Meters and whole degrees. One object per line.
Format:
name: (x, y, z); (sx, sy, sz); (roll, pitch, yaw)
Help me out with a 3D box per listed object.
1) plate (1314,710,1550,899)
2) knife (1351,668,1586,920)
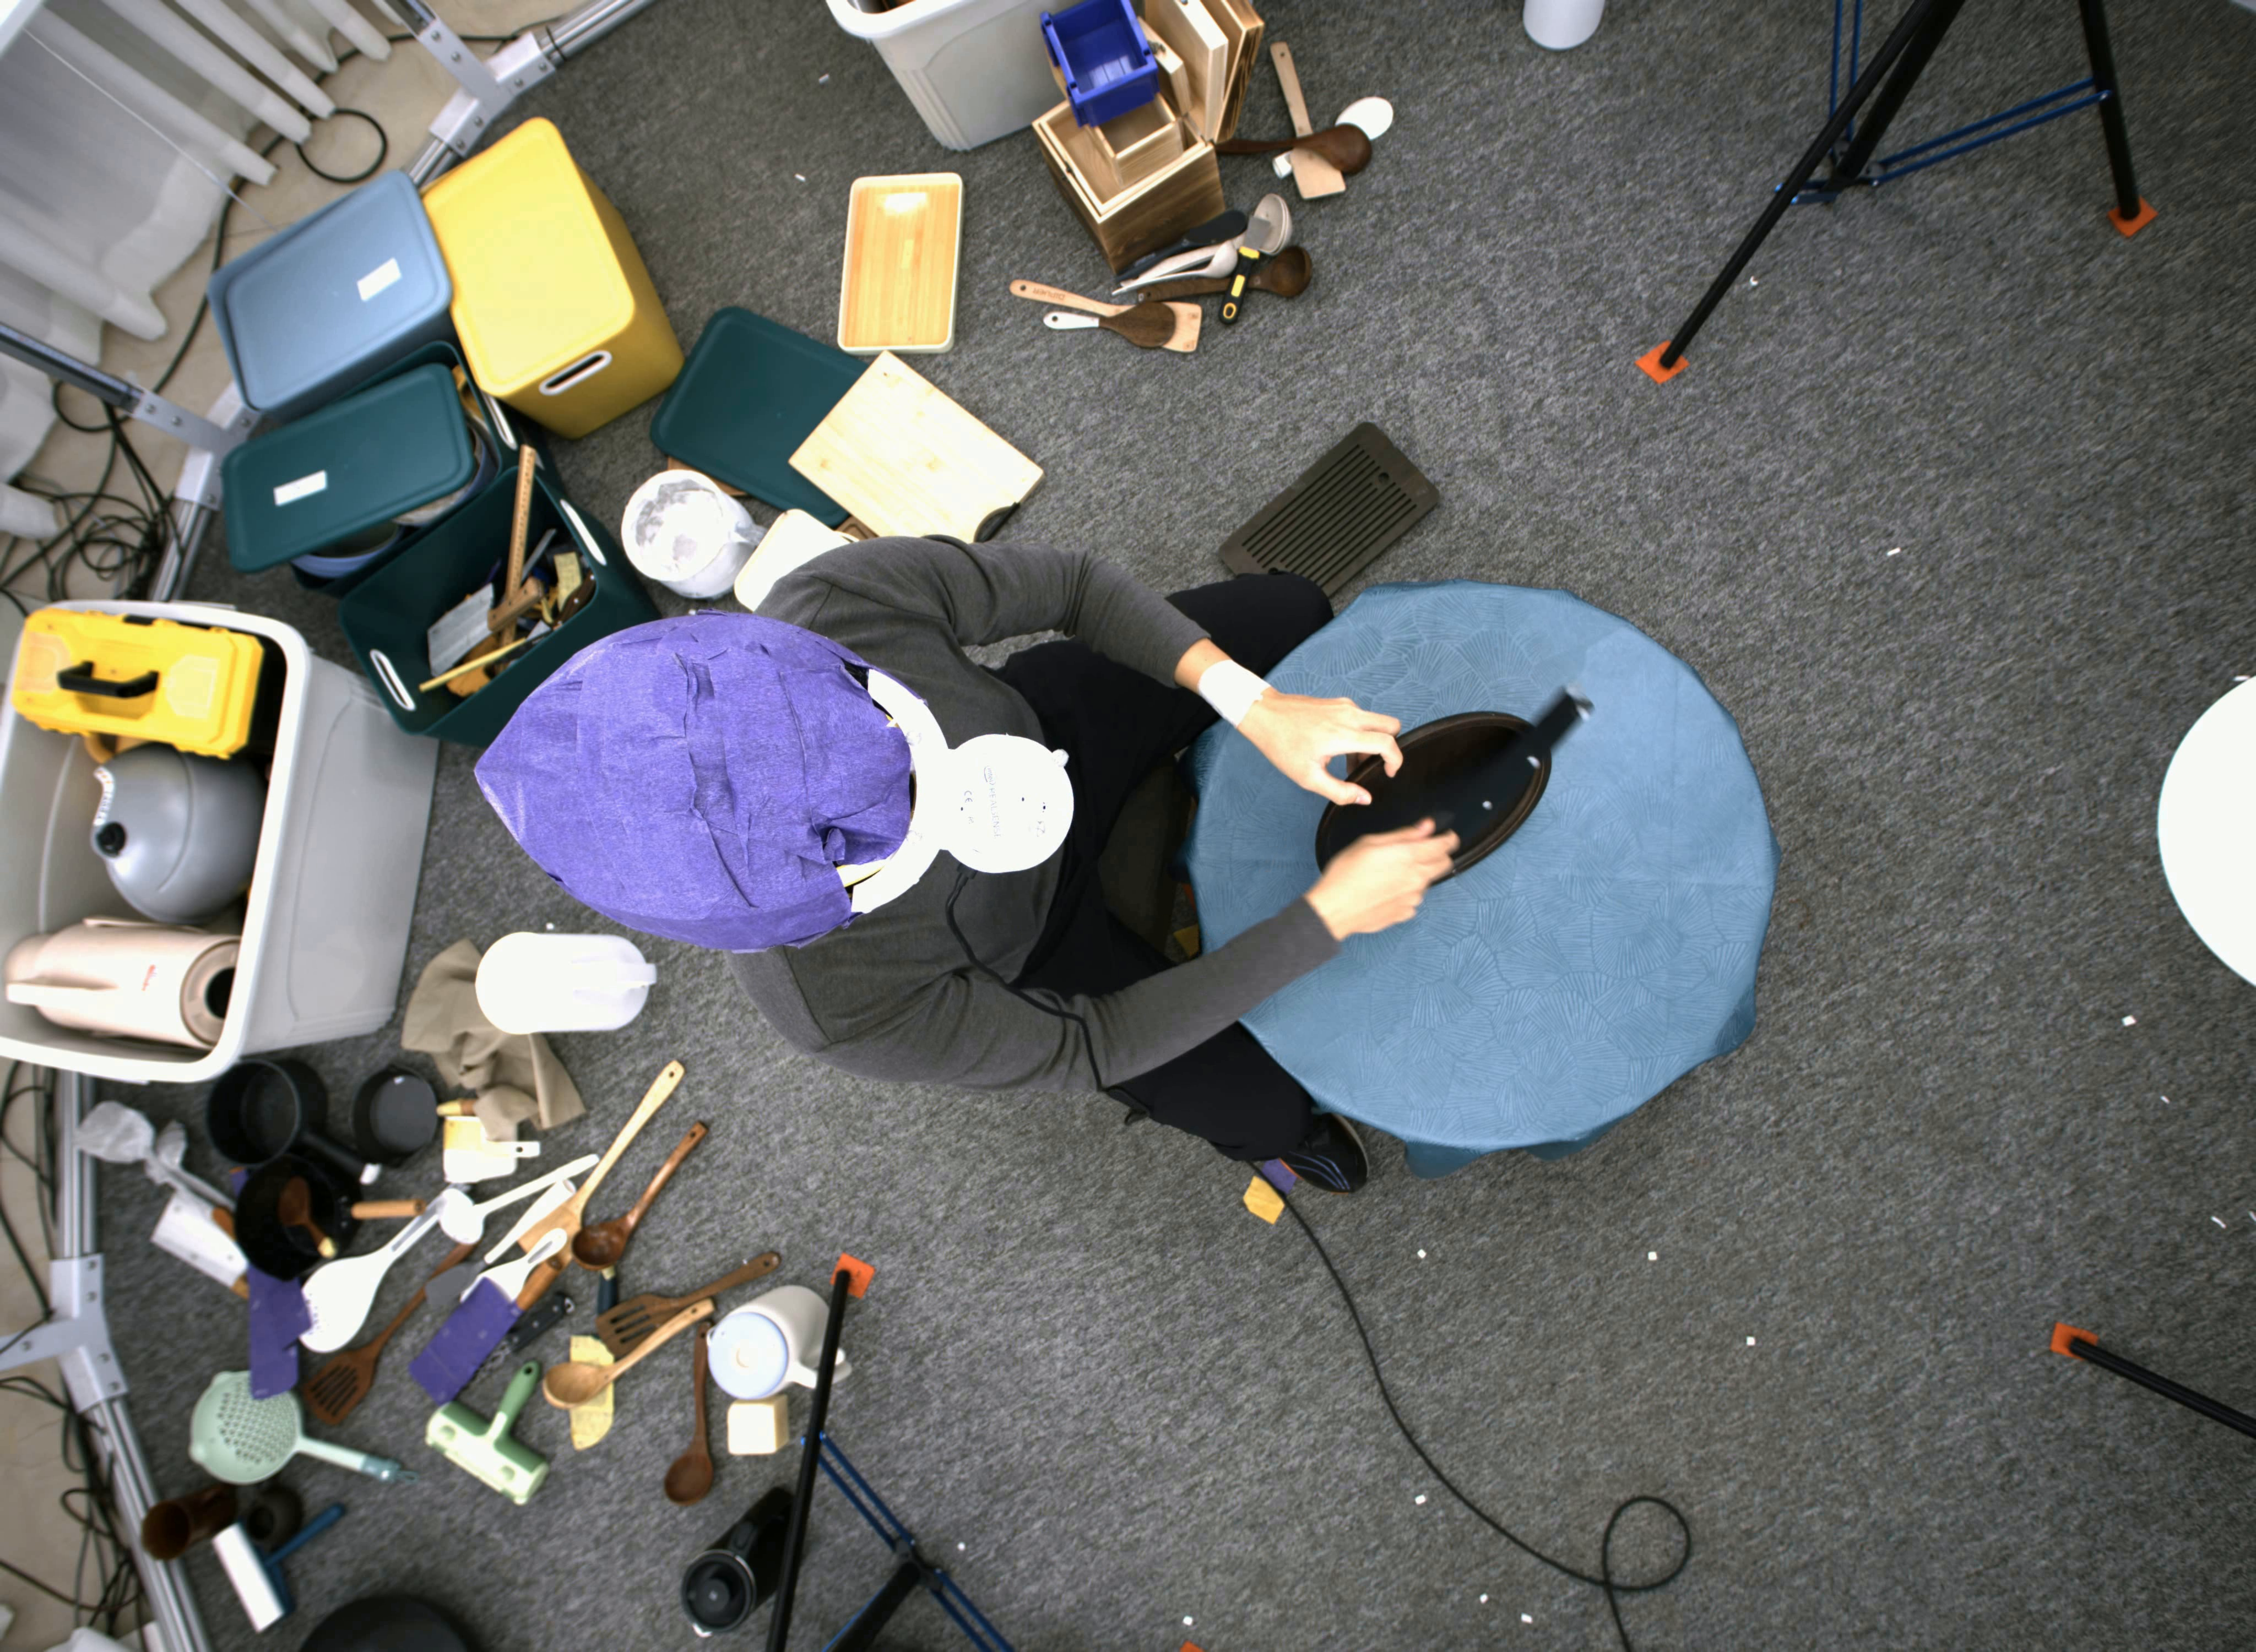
plate: (0.297, -0.020, 1.350); (0.256, 0.258, 0.028); (-29, 54, 7)
knife: (0.320, -0.027, 1.298); (0.304, 0.081, 0.020); (-47, 48, 9)
